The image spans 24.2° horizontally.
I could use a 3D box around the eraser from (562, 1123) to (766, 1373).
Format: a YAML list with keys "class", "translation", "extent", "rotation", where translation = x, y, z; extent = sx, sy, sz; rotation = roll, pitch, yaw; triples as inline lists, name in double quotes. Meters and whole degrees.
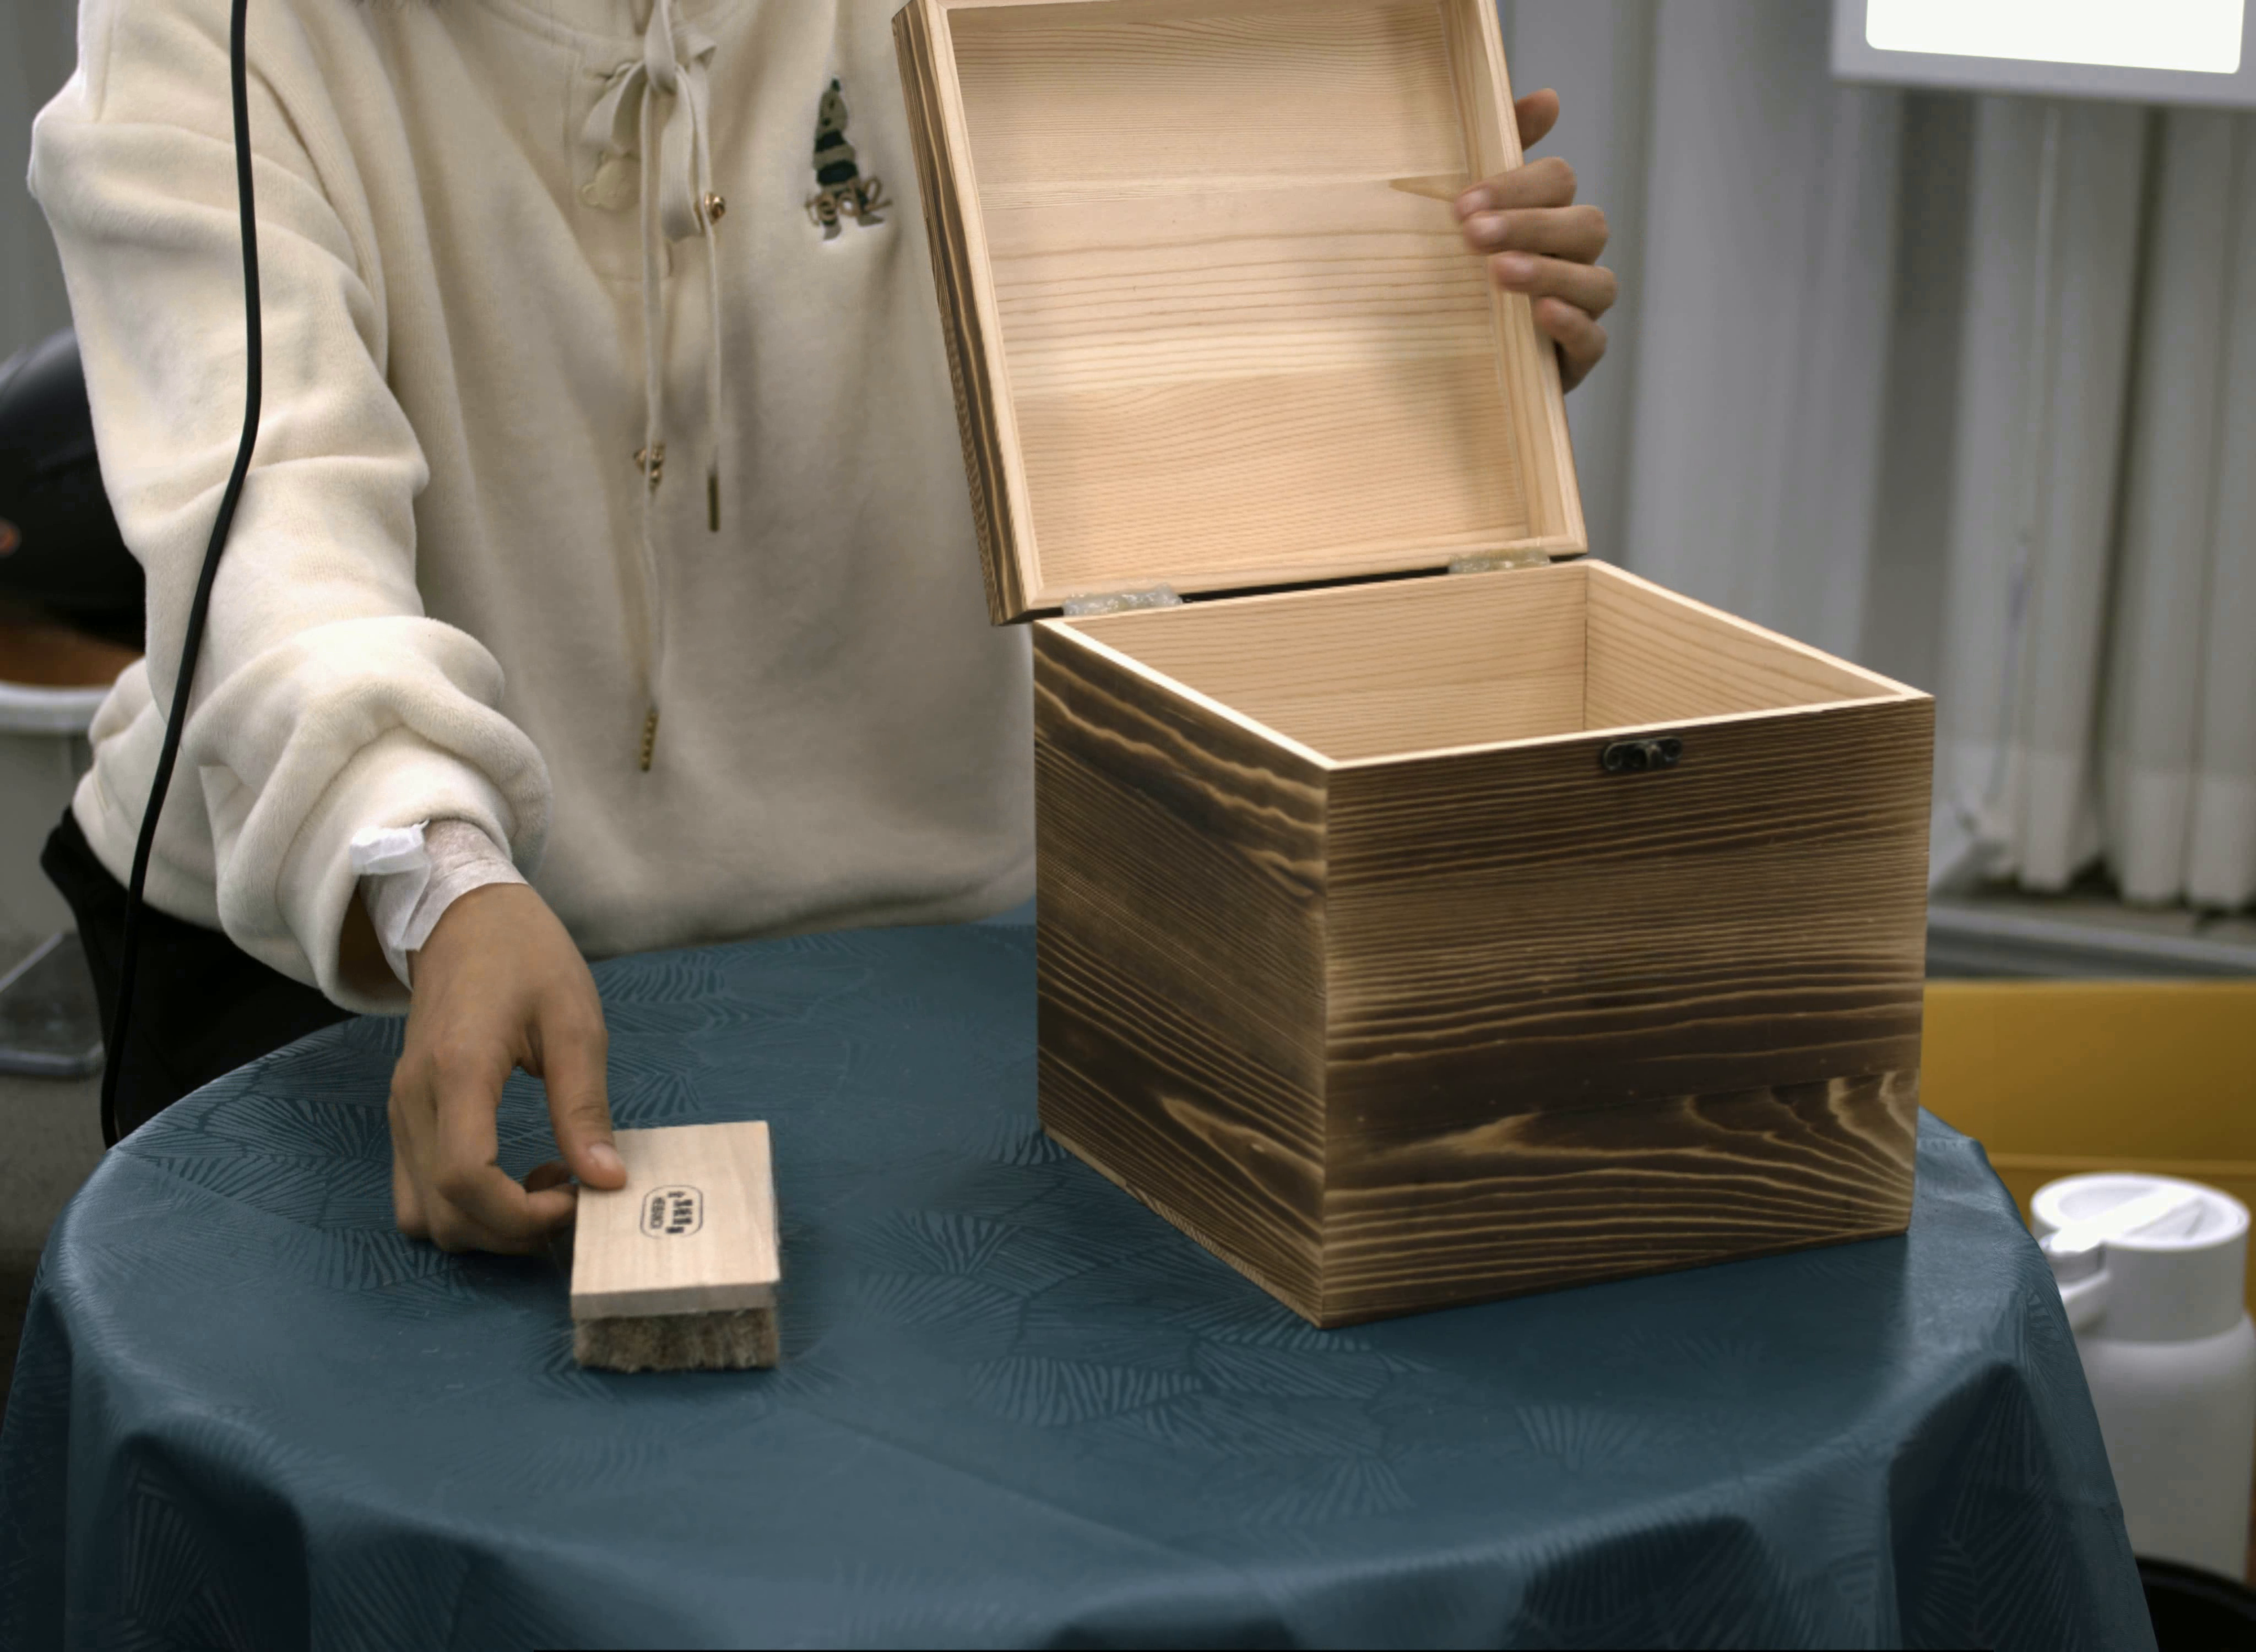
- class: "eraser"
  translation: [-0.133, 0.122, 1.529]
  extent: [0.057, 0.029, 0.138]
  rotation: [-4, 15, -3]

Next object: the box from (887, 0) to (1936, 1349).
- class: "box"
  translation: [0.080, -0.077, 1.623]
  extent: [0.209, 0.378, 0.318]
  rotation: [-8, 18, -25]
